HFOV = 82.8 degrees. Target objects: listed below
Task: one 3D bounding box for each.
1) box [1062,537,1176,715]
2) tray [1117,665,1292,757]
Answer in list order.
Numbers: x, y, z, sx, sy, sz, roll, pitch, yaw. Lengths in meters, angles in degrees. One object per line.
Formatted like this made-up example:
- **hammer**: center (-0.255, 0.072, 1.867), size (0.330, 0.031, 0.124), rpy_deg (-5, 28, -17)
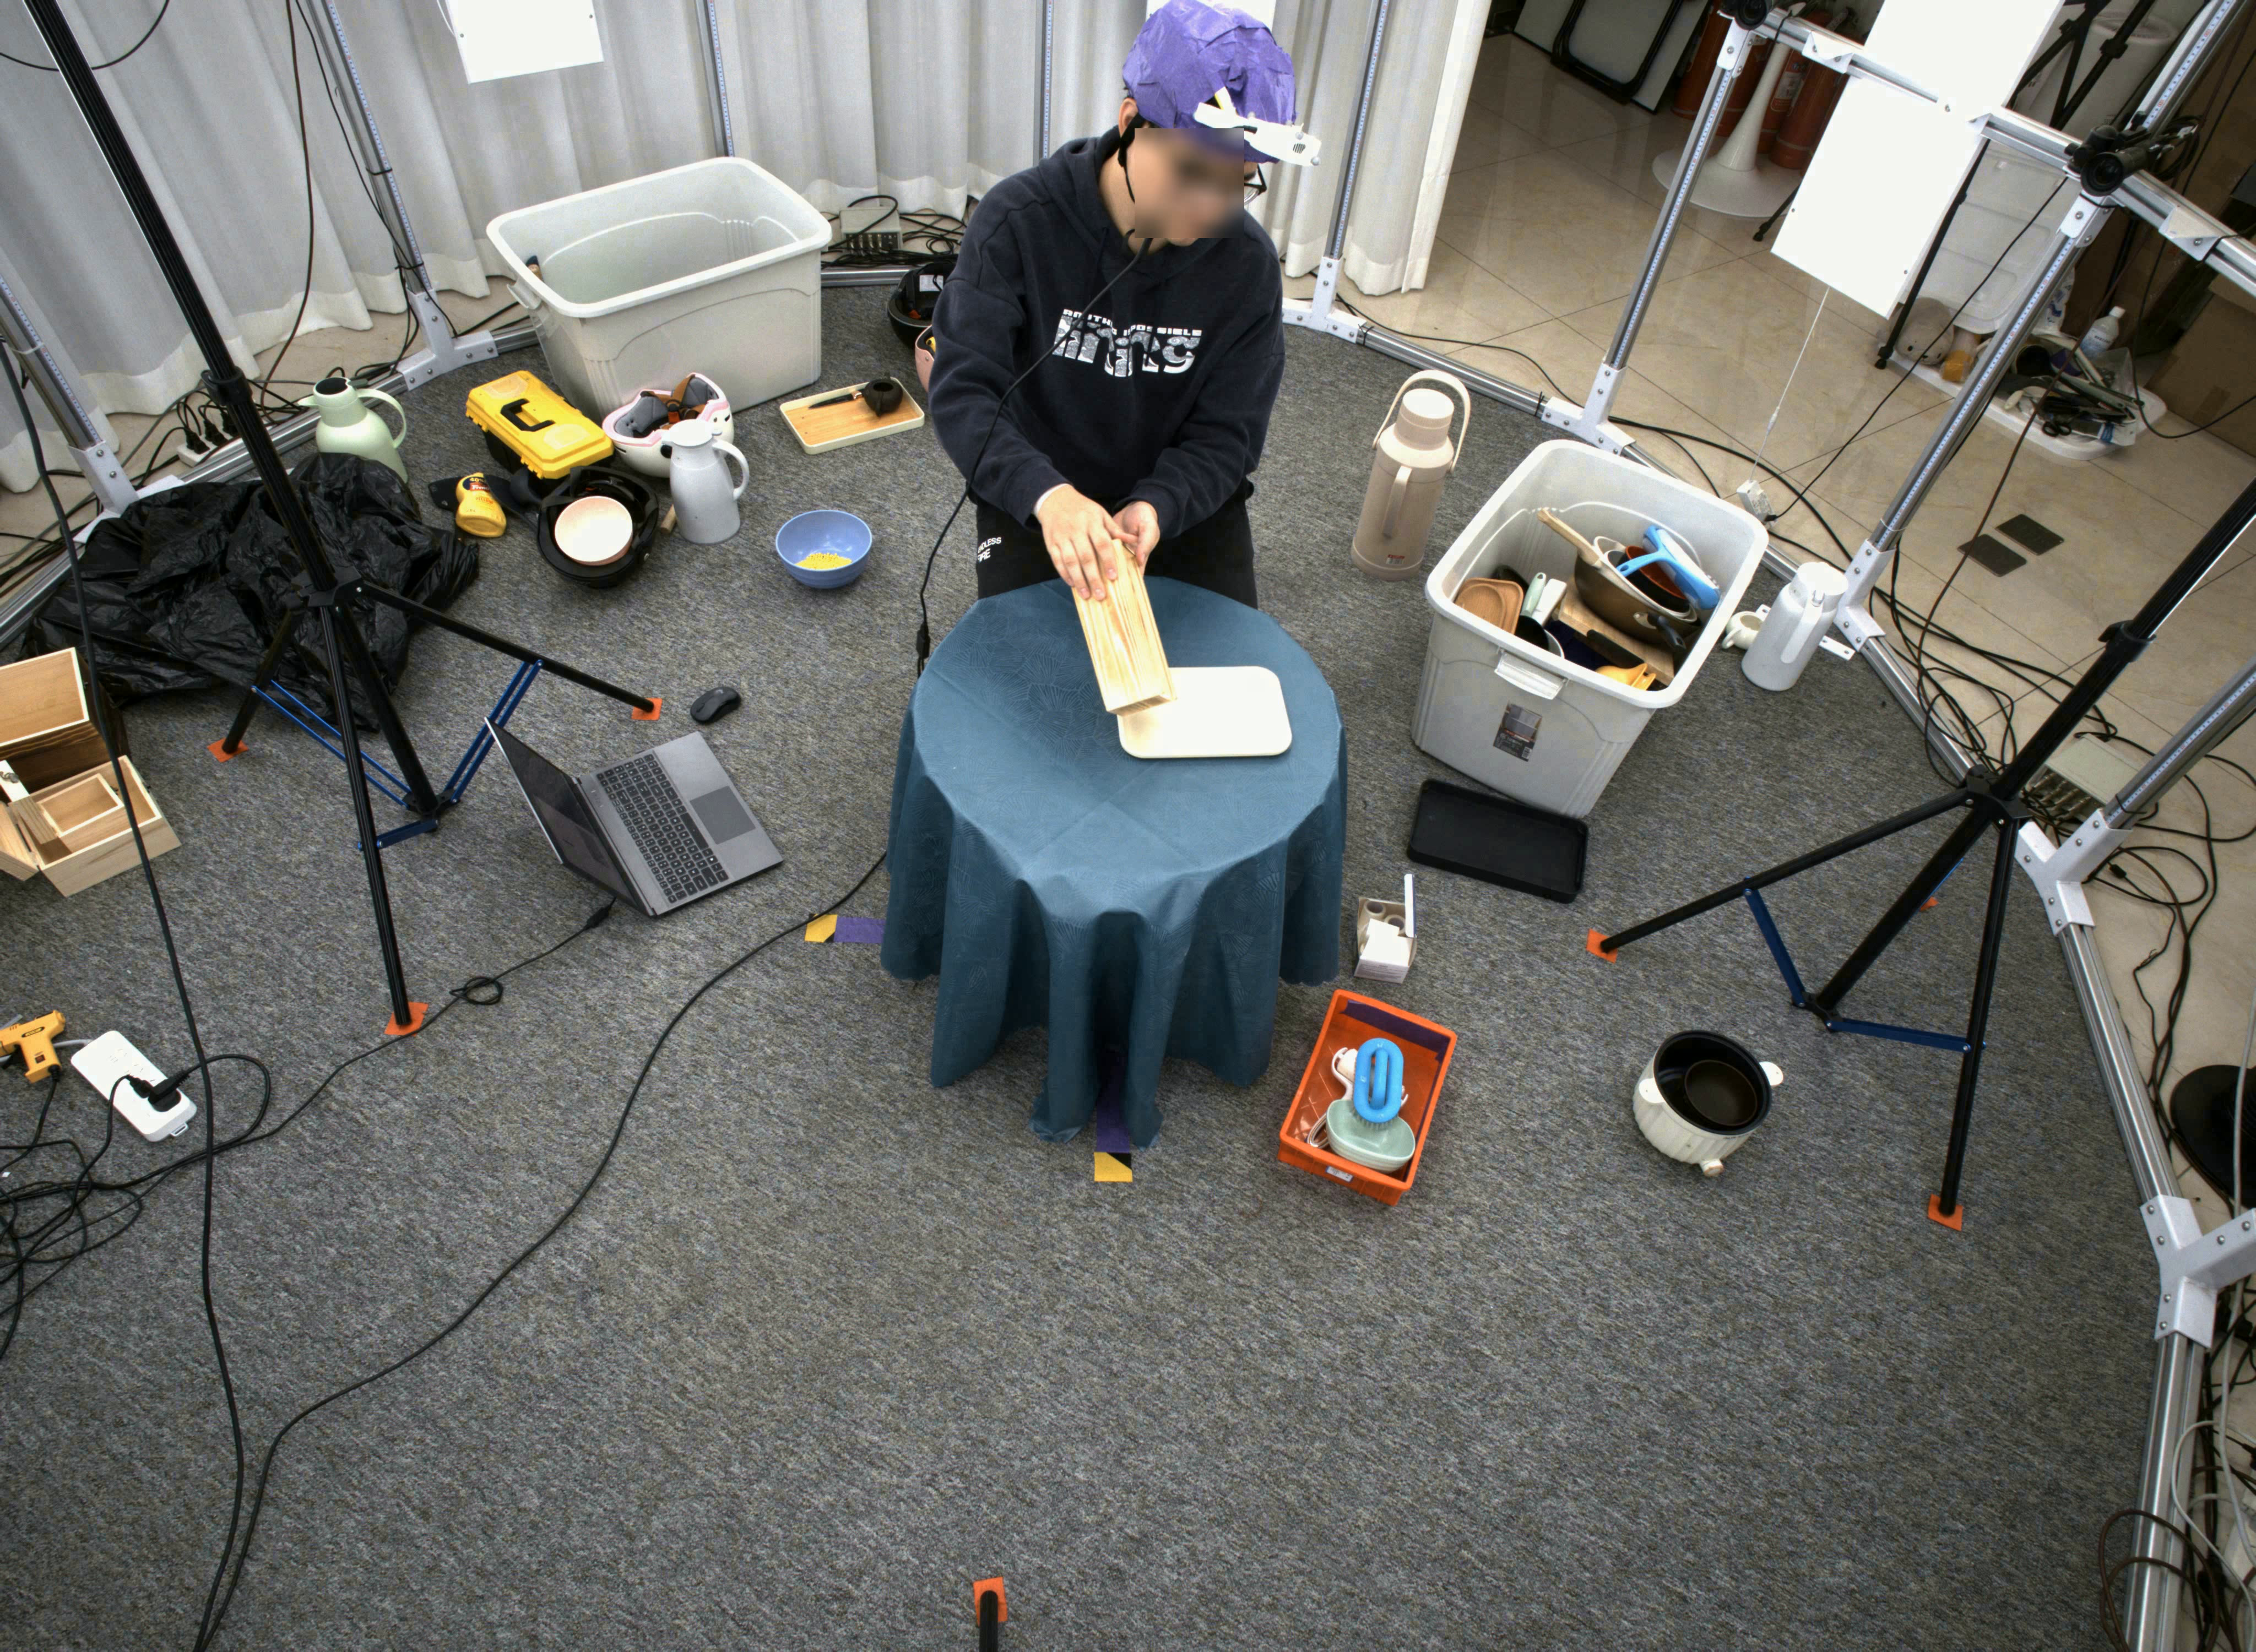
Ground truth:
- **box**: center (-0.010, -0.263, 1.710), size (0.080, 0.107, 0.212), rpy_deg (-17, 86, 13)
- **tray**: center (0.102, -0.160, 1.801), size (0.239, 0.017, 0.175), rpy_deg (-2, 49, -6)
